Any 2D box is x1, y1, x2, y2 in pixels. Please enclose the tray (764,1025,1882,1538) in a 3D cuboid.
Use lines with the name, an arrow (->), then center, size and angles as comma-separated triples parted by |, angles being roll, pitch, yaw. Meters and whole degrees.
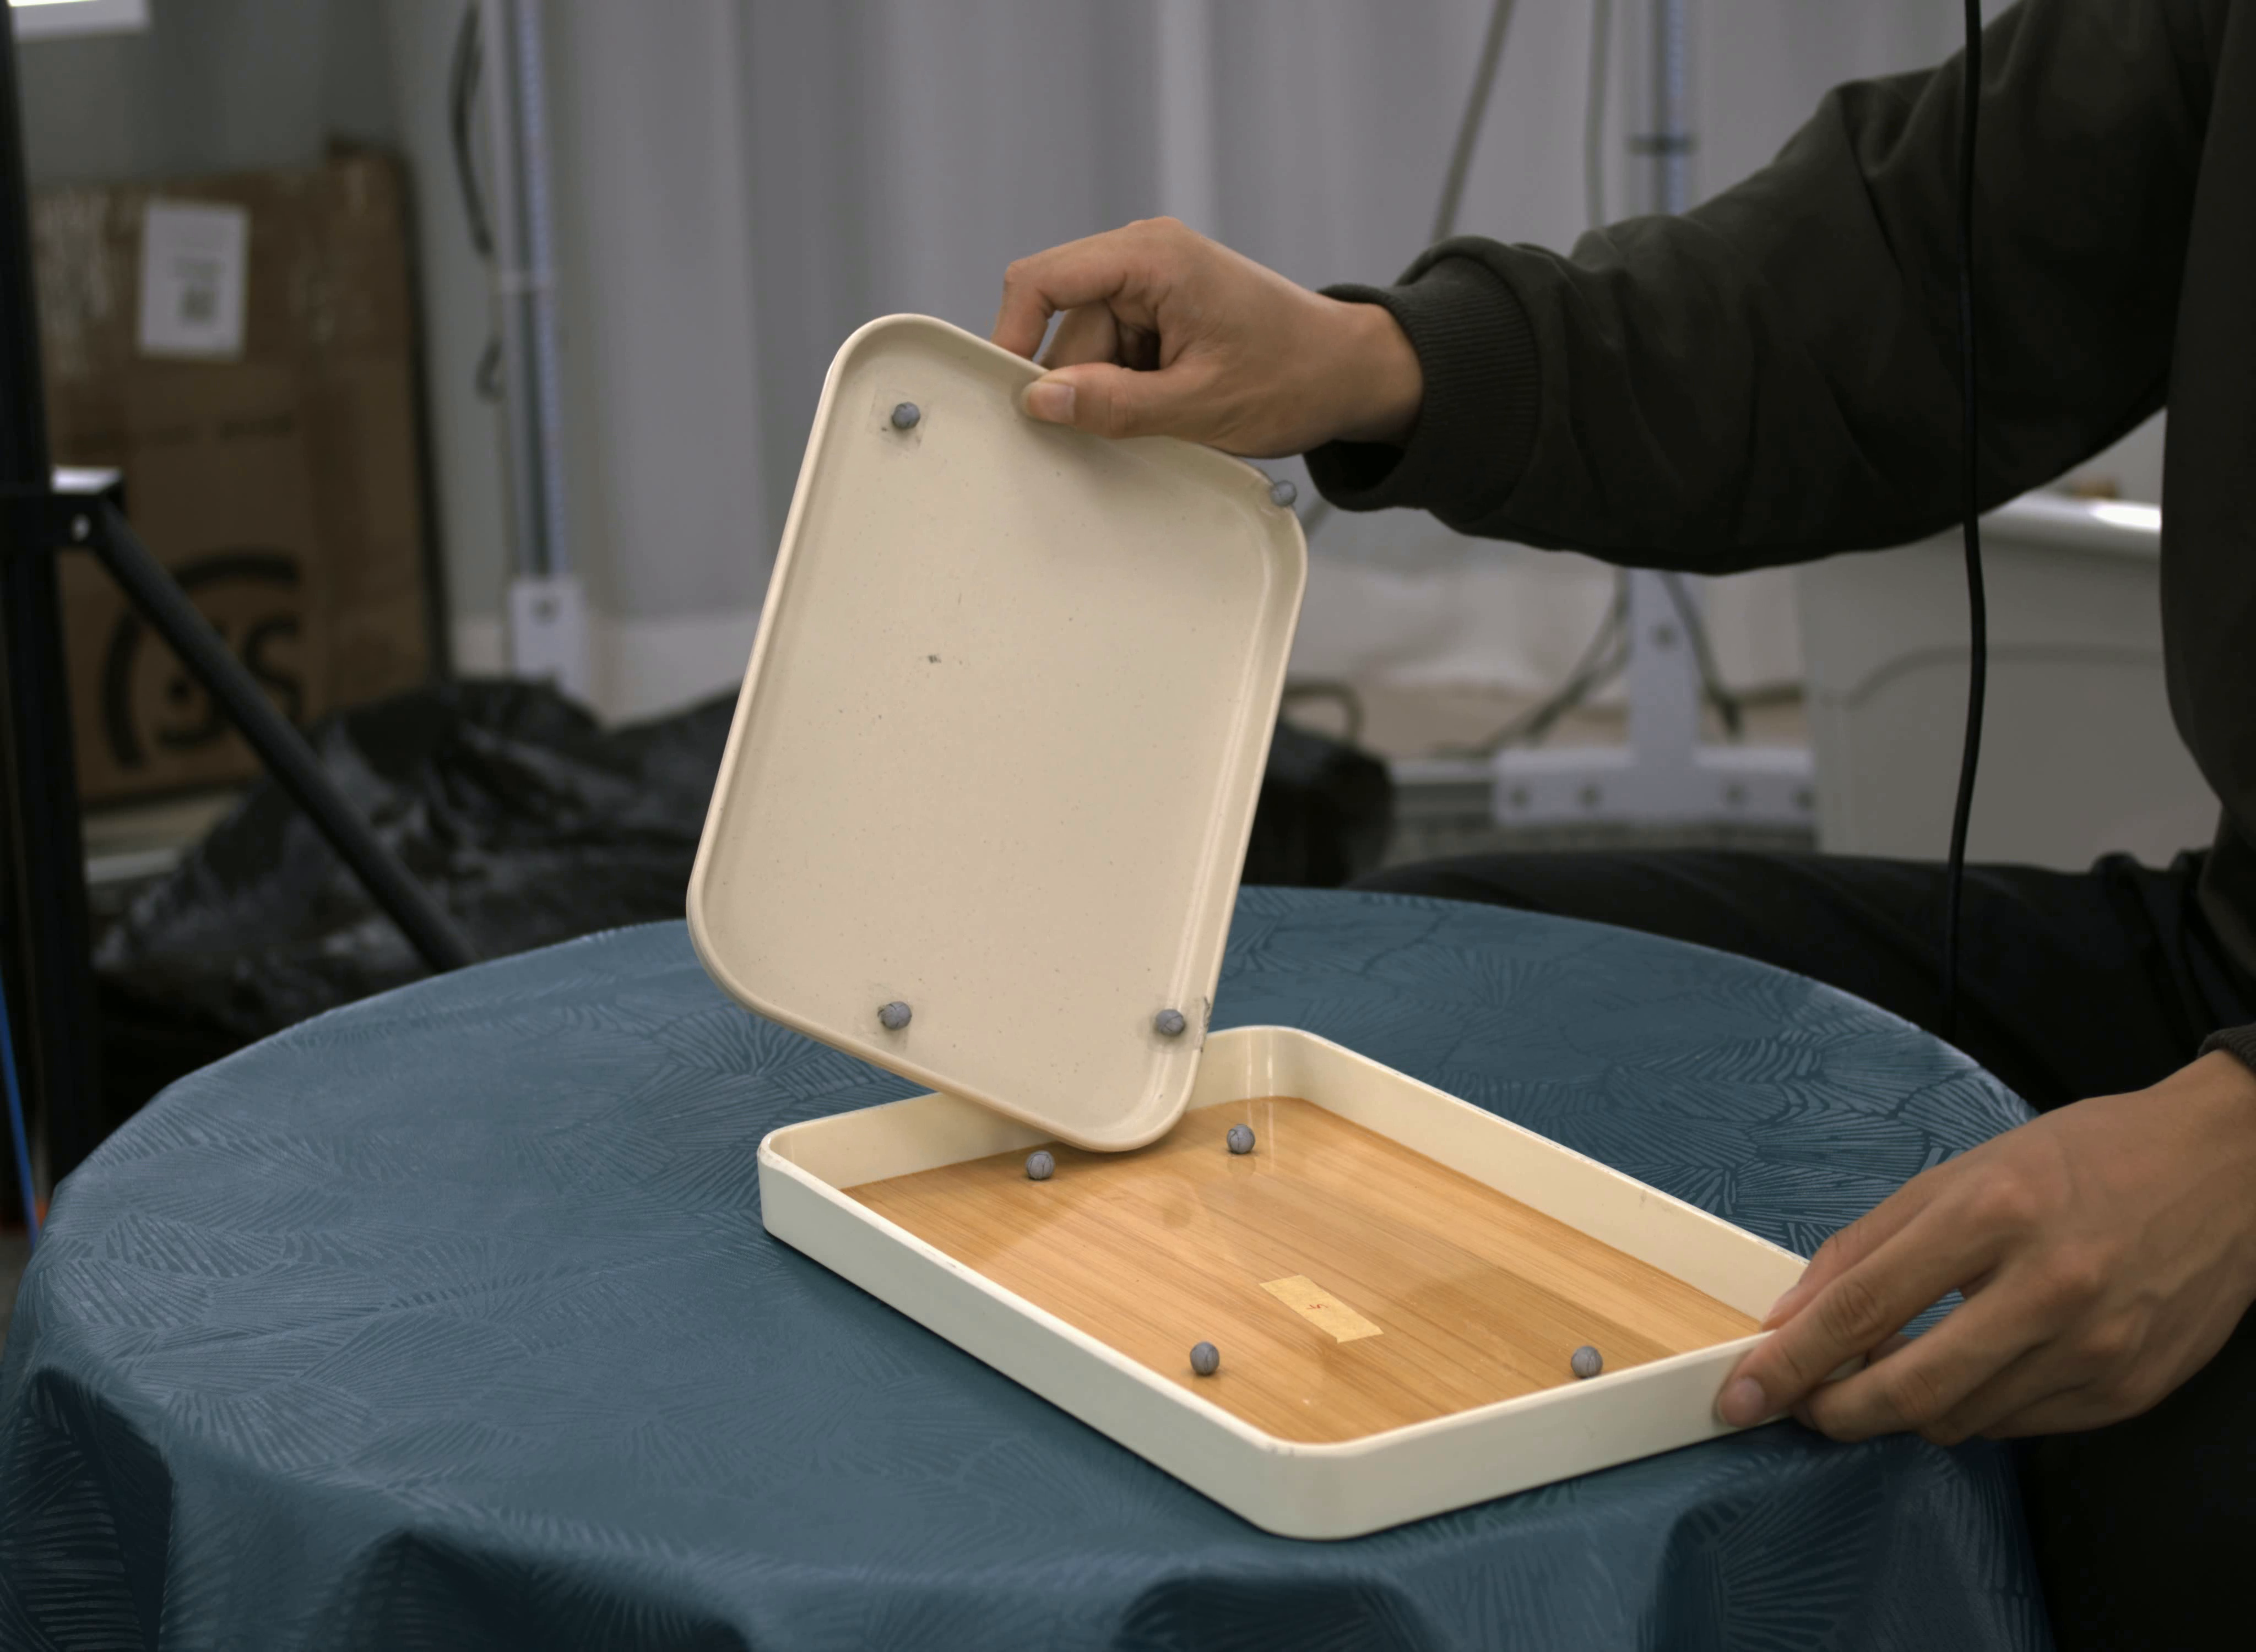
tray -> 0.047, 0.120, 1.464 | 0.187, 0.027, 0.307 | -11, 18, -29

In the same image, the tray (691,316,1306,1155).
tray -> -0.037, -0.027, 1.611 | 0.168, 0.241, 0.018 | 23, -28, -18
